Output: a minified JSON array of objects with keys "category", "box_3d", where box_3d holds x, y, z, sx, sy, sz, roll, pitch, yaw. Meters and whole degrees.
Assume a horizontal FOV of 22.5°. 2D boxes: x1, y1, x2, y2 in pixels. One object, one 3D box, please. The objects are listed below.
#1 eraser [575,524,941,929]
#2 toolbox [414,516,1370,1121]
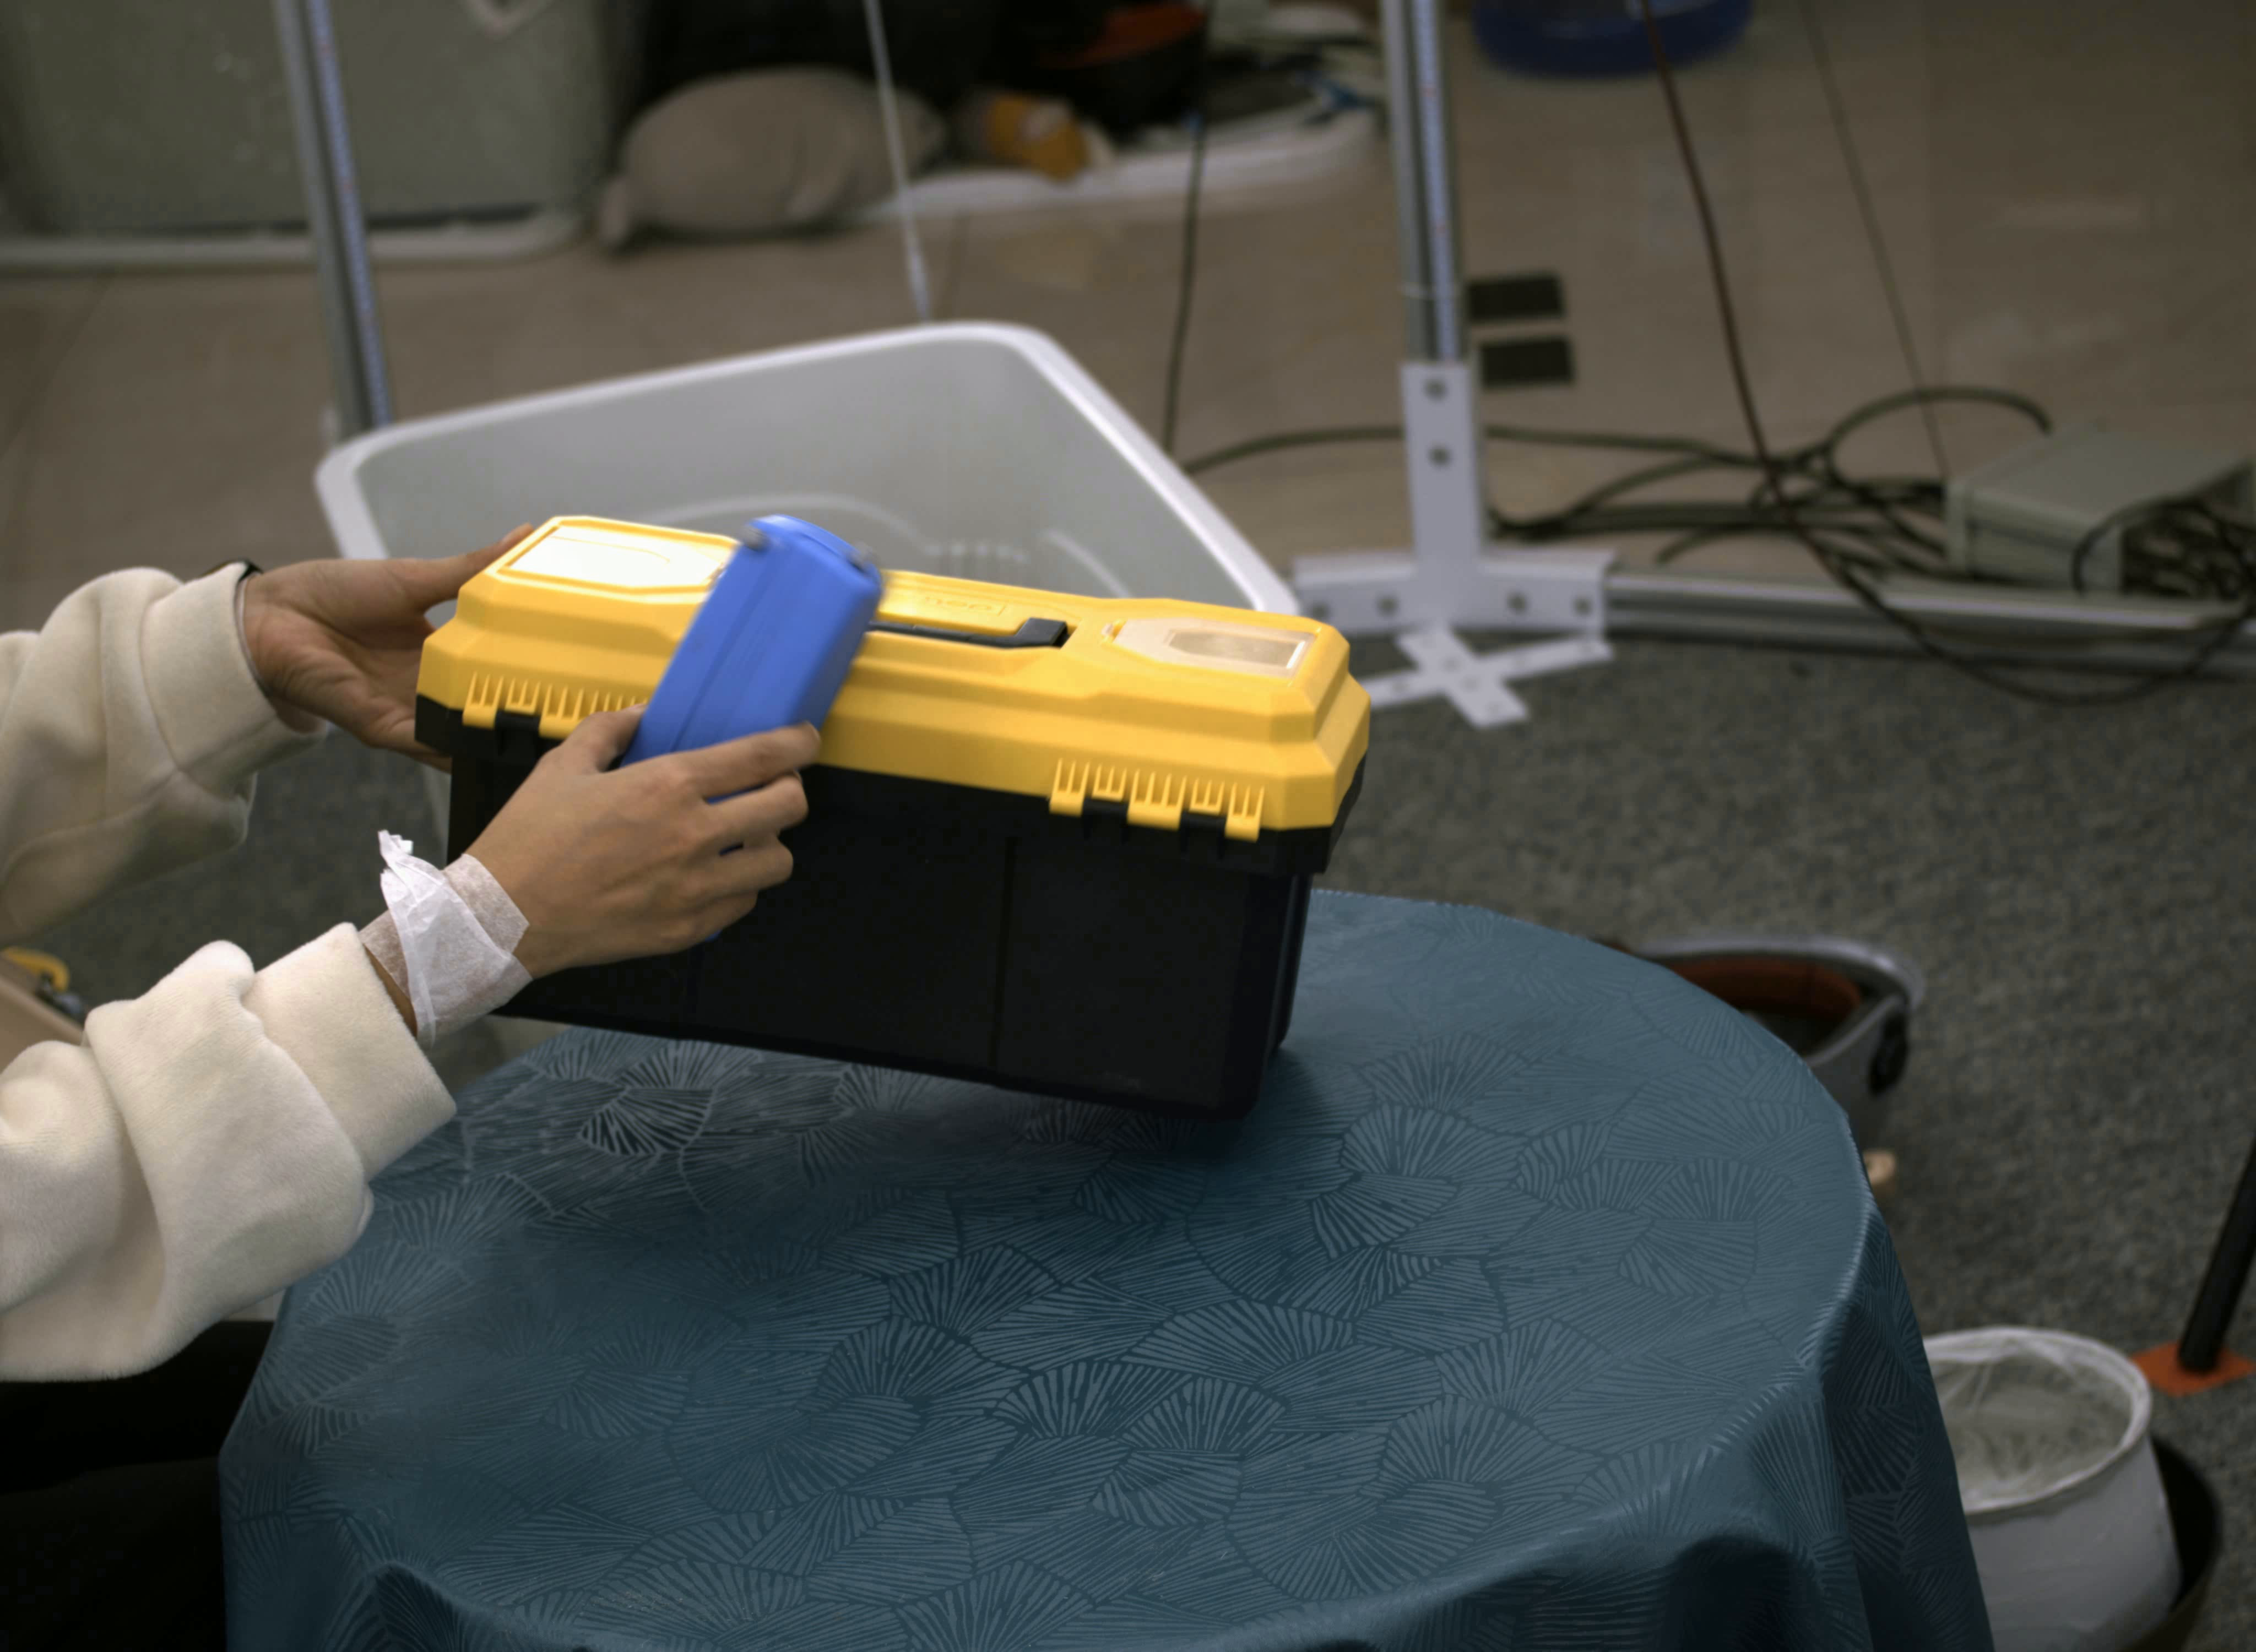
[{"category":"eraser","box_3d":[-0.137,-0.036,2.070,0.054,0.163,0.047,40,11,5]},{"category":"toolbox","box_3d":[-0.091,-0.005,2.187,0.350,0.175,0.179,8,16,6]}]
